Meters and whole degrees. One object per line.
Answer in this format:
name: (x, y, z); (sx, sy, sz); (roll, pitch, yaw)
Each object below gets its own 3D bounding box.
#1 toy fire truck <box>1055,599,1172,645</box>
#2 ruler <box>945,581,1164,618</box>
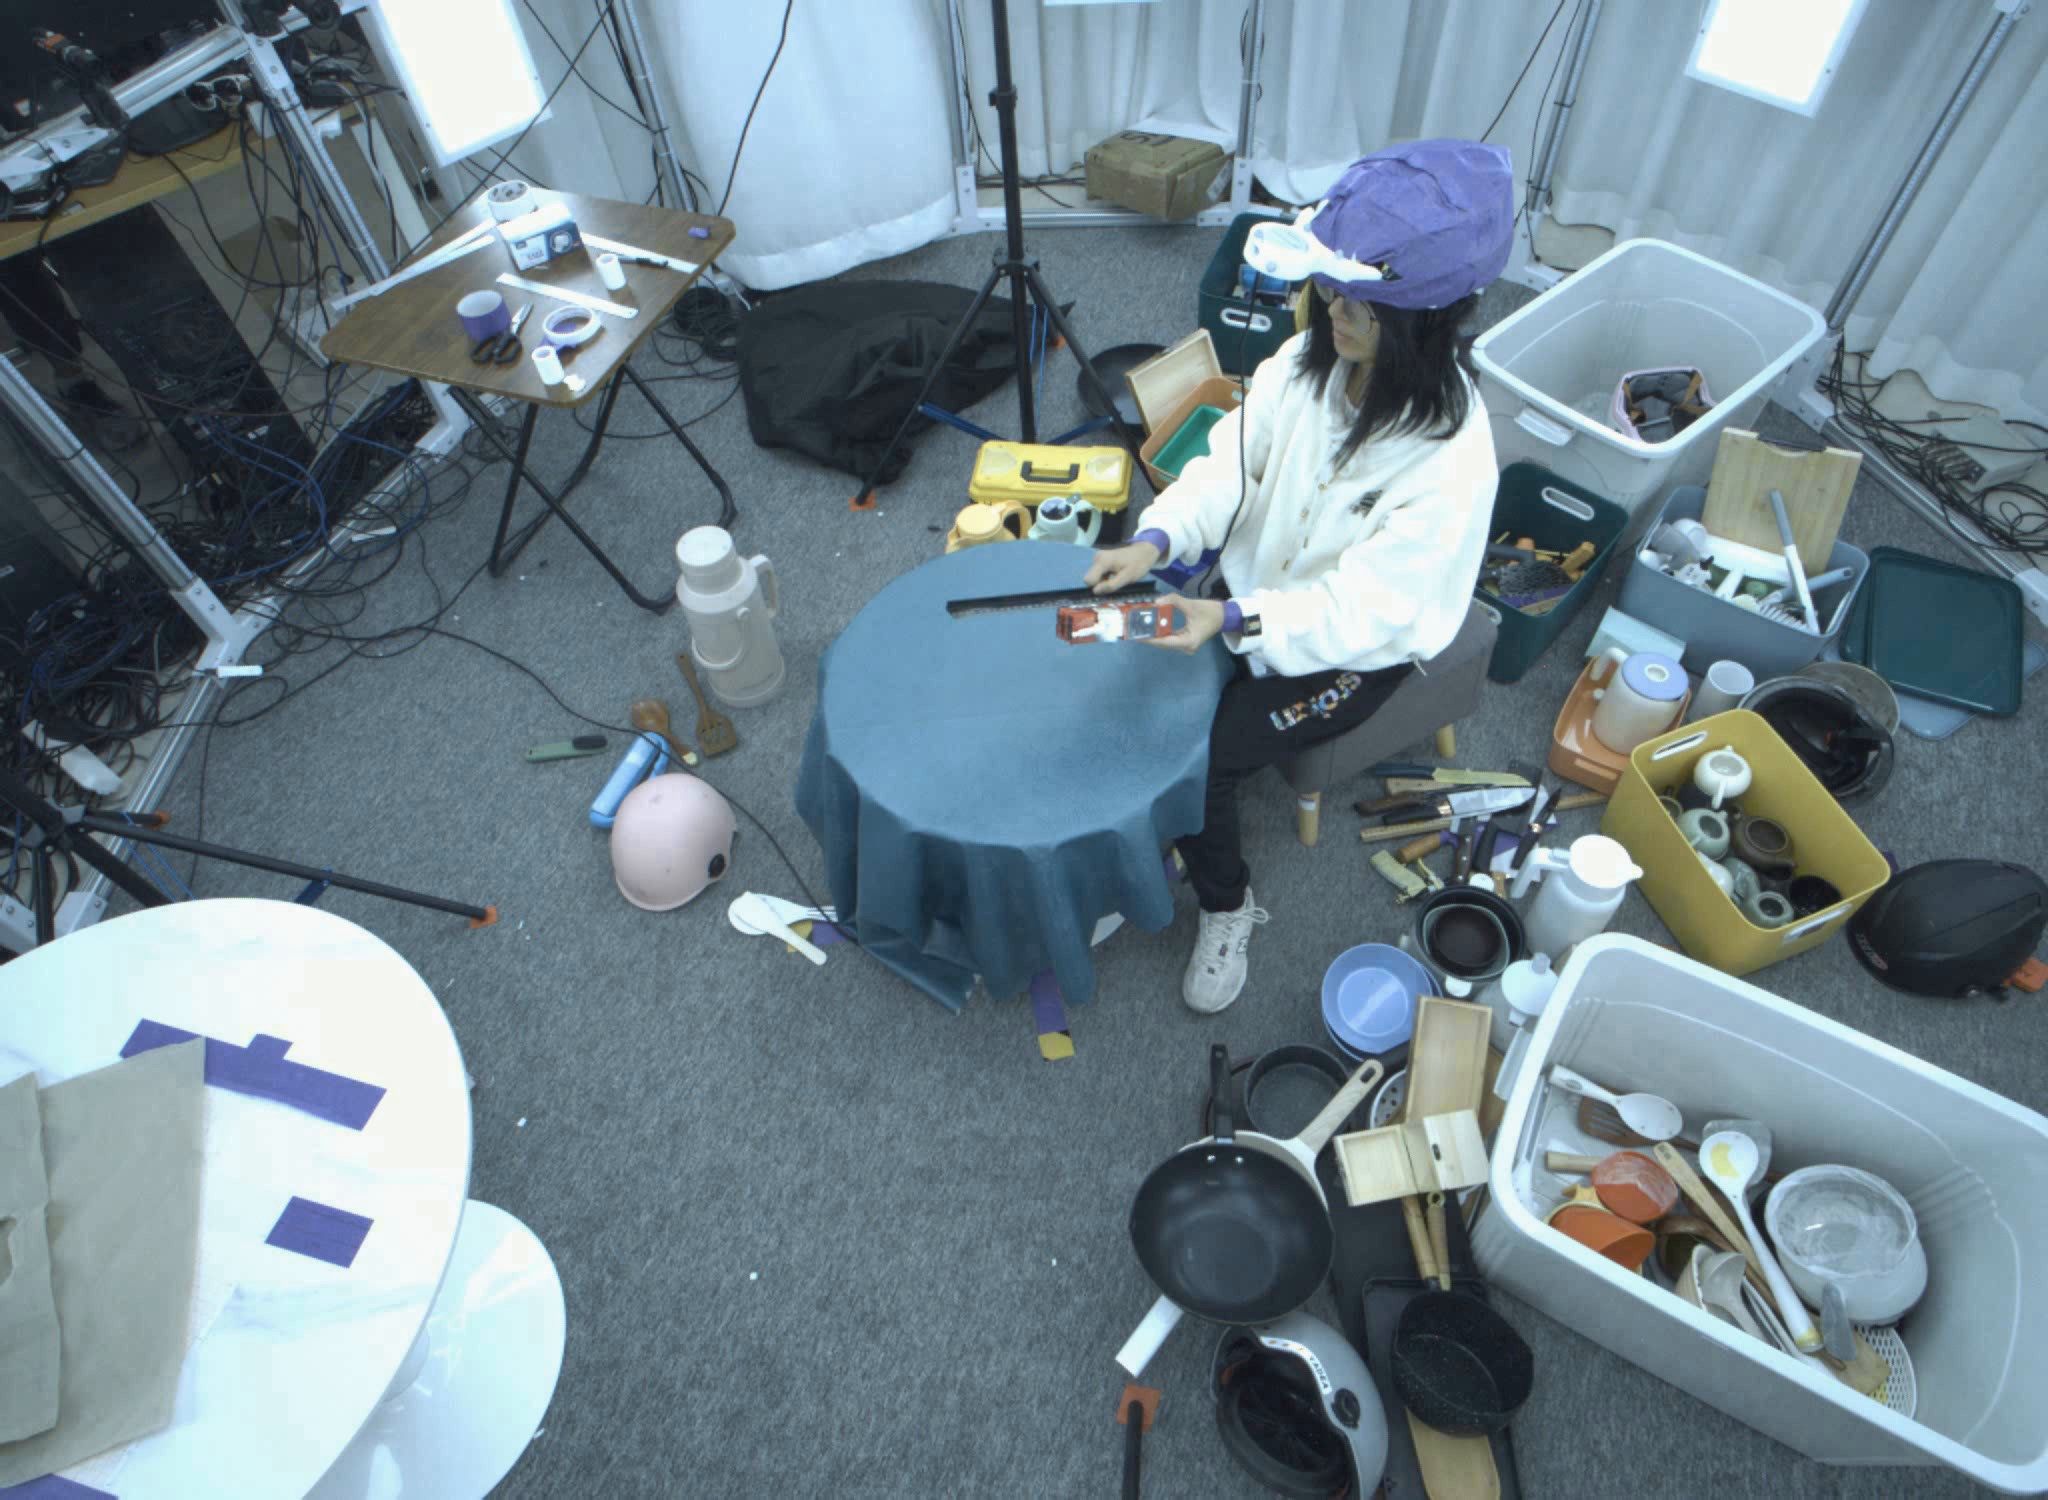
toy fire truck: (0.124, -0.175, 1.687); (0.170, 0.054, 0.069); (-8, 23, -25)
ruler: (0.045, -0.209, 1.690); (0.317, 0.017, 0.038); (-8, 31, -20)
